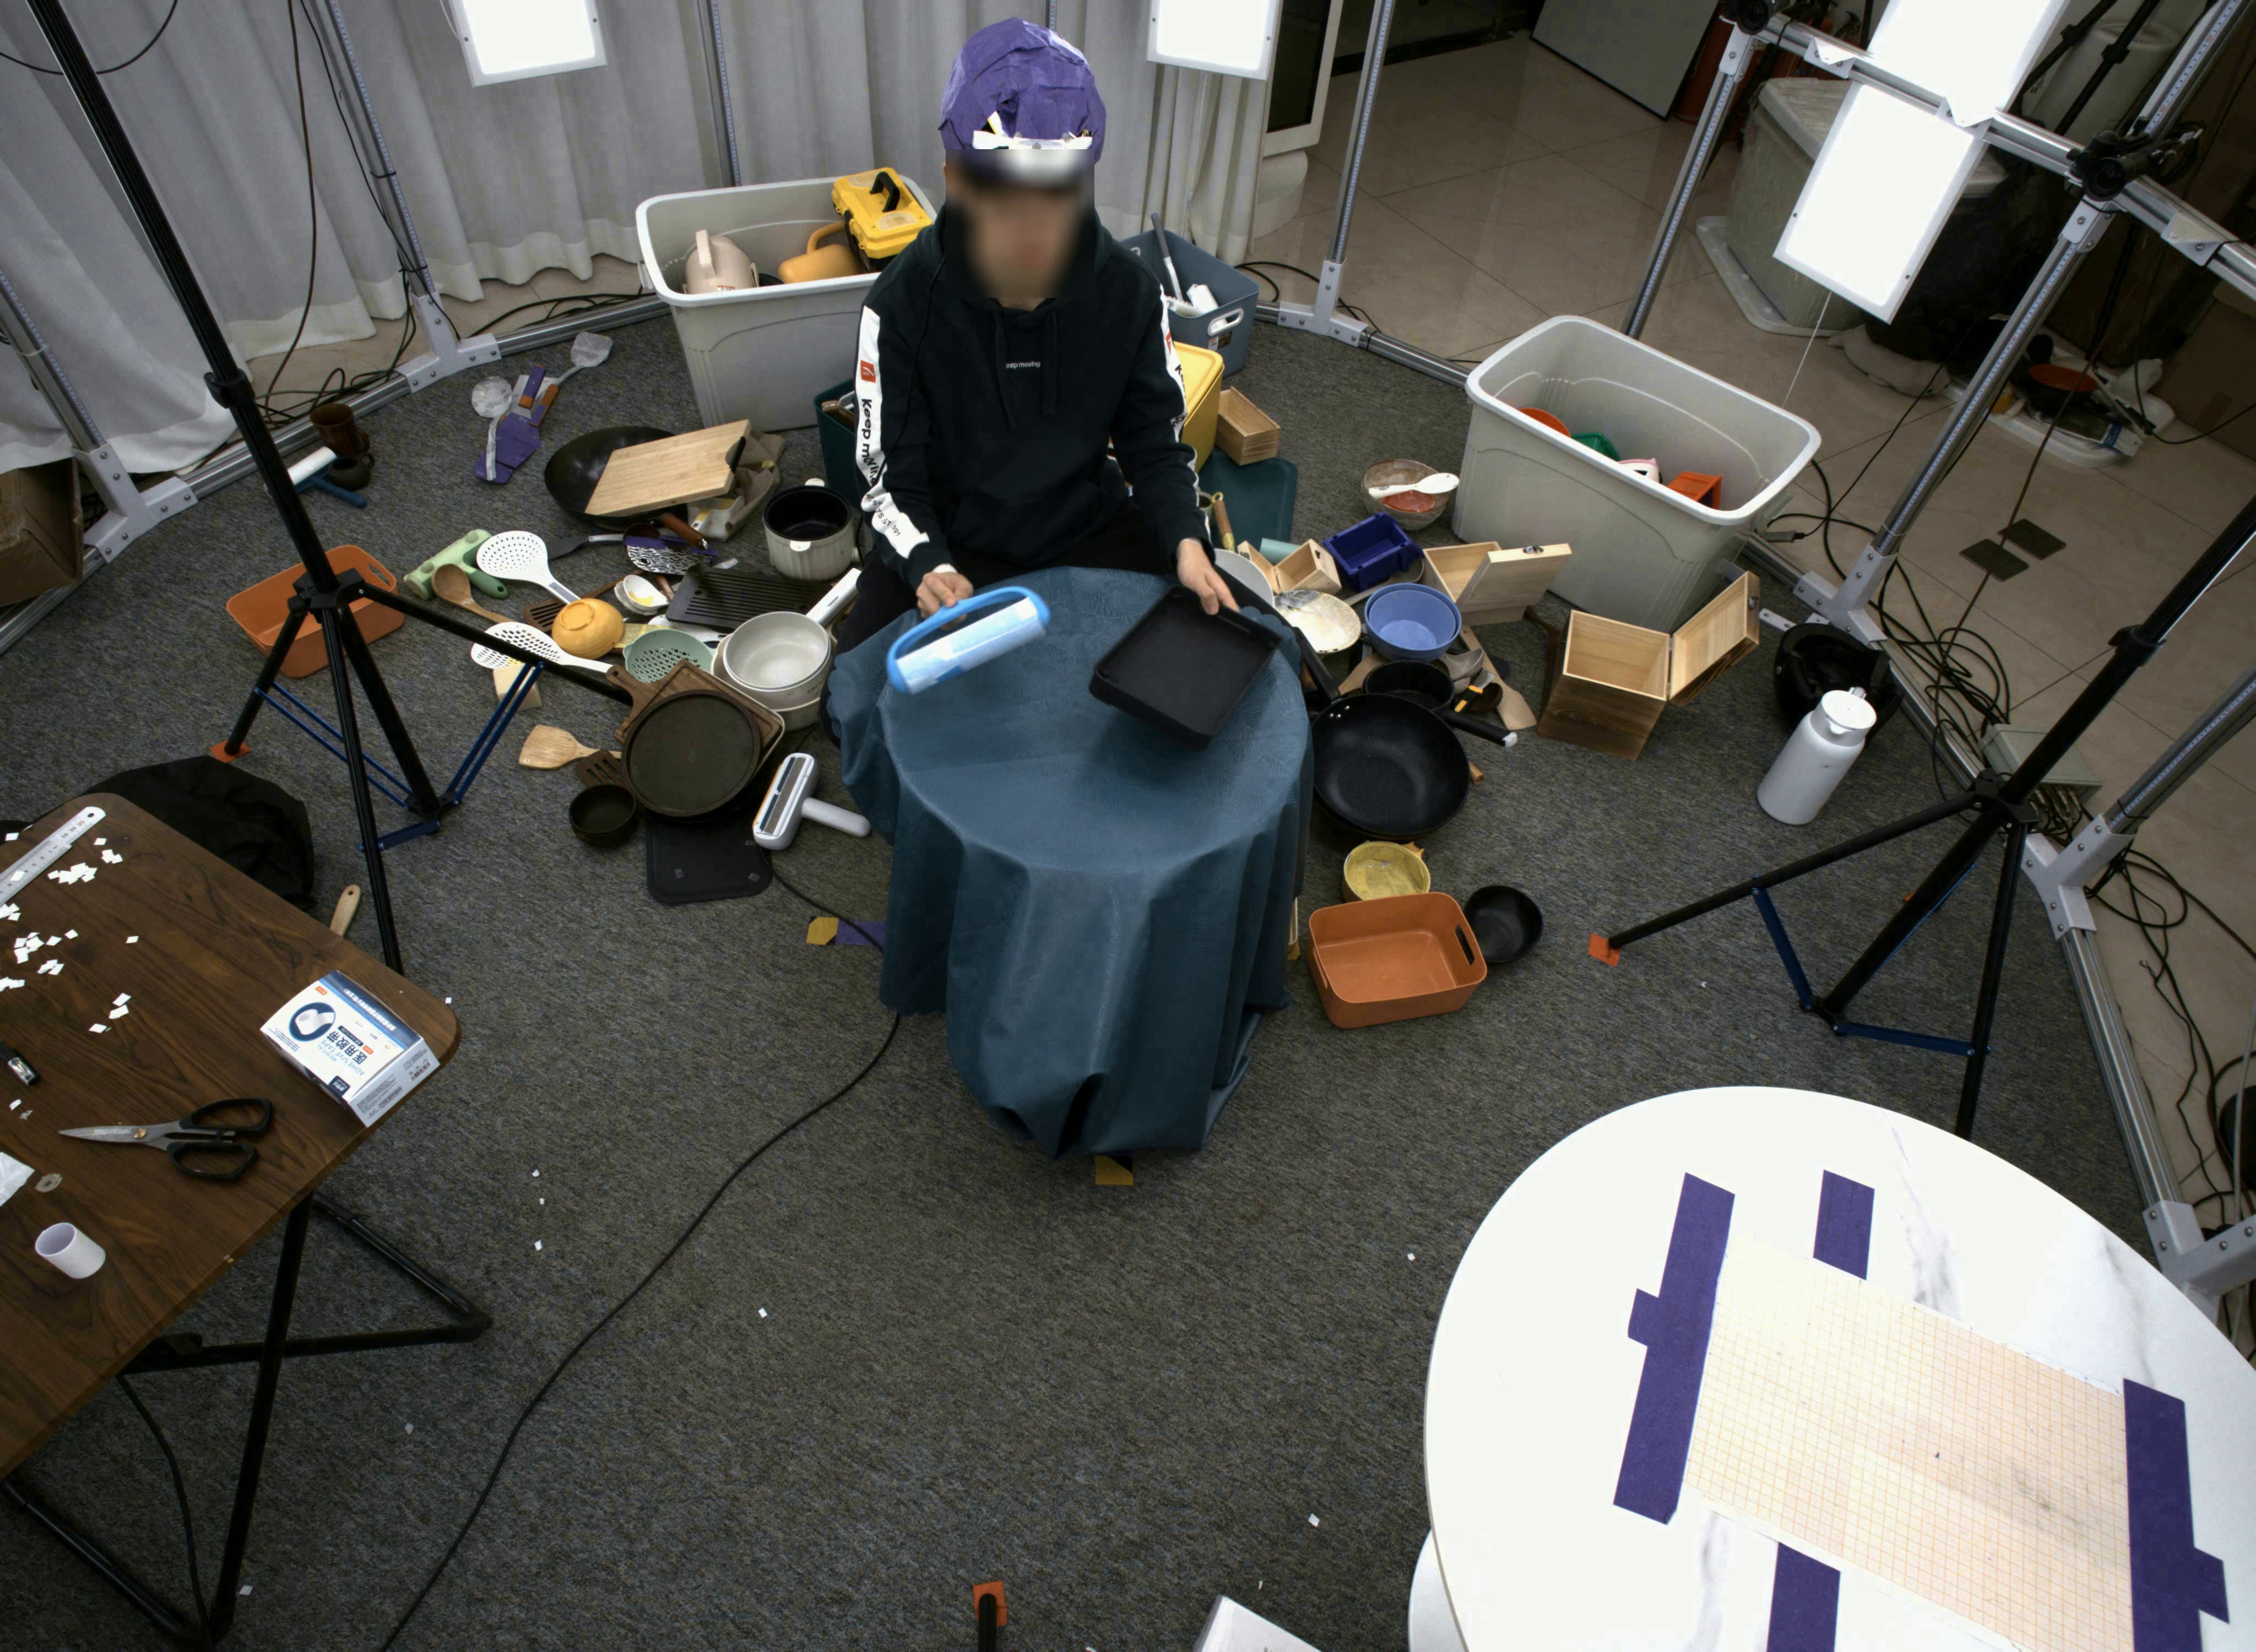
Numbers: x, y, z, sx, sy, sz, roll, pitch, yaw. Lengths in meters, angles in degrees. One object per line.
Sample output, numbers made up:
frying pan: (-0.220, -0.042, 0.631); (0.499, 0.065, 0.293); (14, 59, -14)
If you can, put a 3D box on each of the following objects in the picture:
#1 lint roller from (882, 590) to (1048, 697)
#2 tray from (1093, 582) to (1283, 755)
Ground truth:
lint roller: (-0.234, -0.269, 1.739); (0.229, 0.066, 0.184); (-28, 42, -5)
tray: (0.088, -0.225, 1.780); (0.185, 0.036, 0.323); (27, 41, 7)
